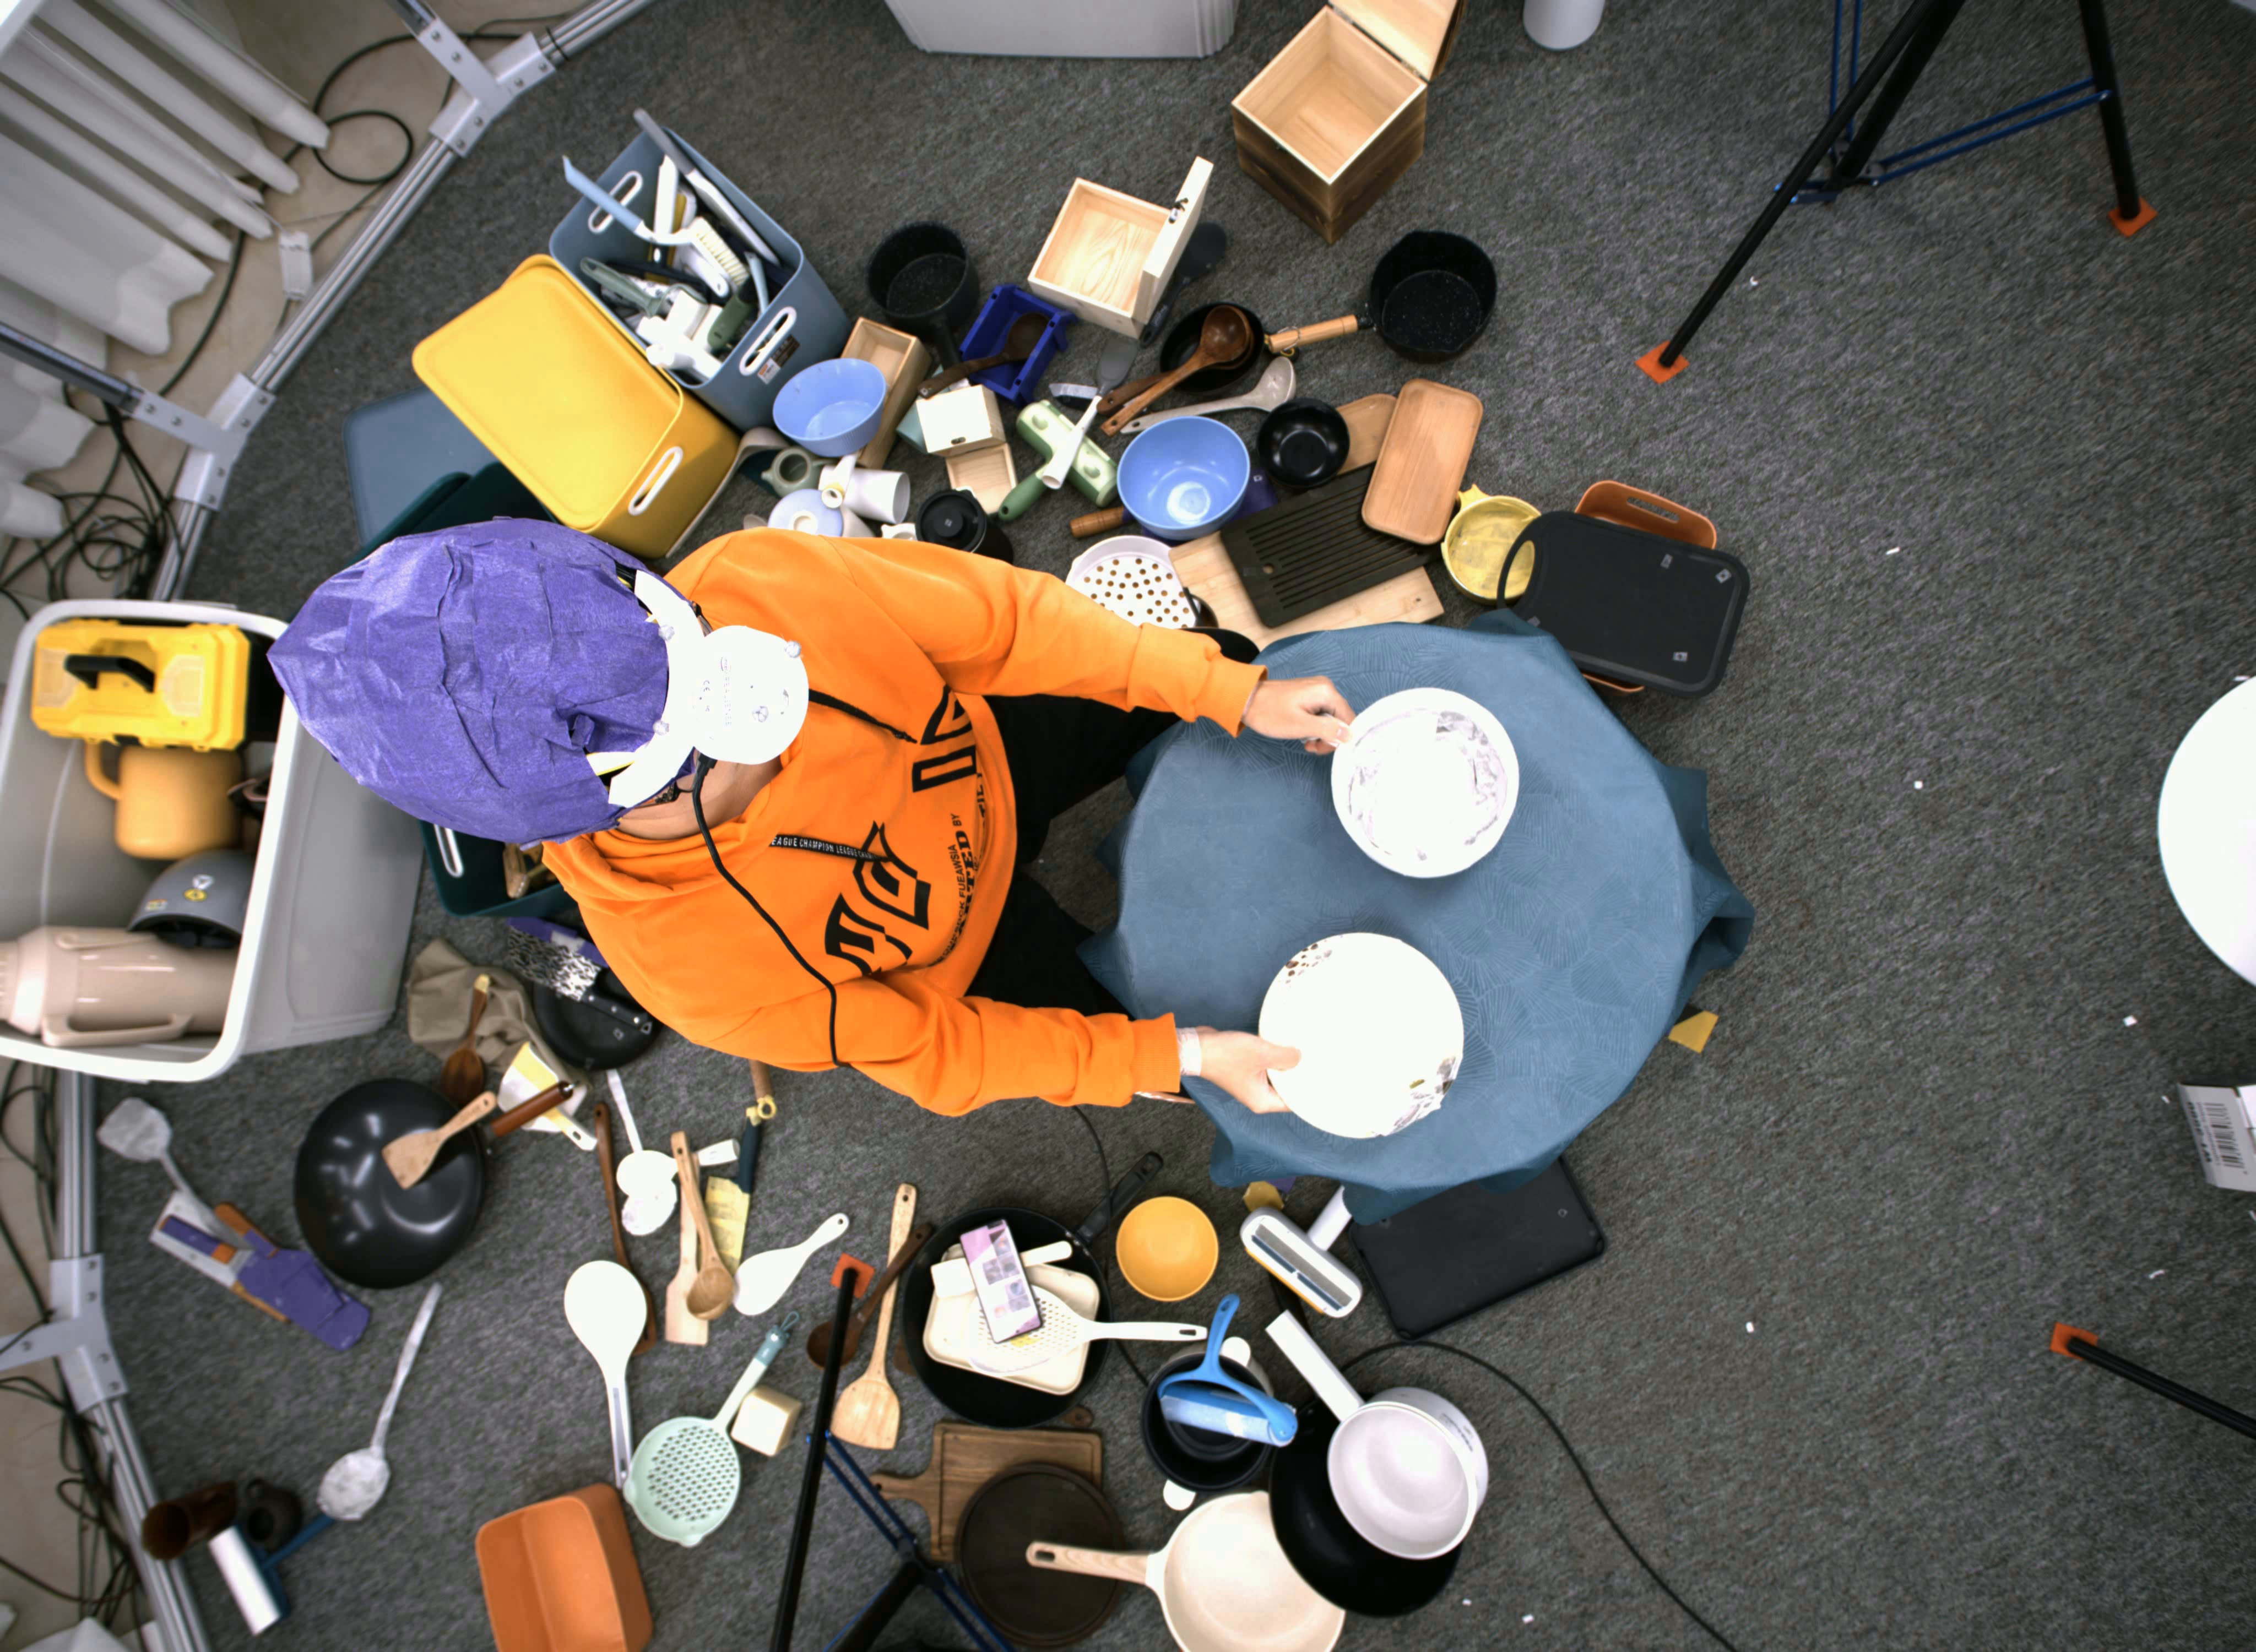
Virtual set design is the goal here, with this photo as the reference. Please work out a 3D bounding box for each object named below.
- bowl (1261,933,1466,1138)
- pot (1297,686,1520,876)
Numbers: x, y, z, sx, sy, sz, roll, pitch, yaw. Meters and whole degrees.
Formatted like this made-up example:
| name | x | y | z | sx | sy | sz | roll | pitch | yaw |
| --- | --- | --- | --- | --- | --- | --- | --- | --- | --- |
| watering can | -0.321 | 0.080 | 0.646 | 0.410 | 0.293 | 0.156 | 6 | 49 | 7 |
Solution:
| name | x | y | z | sx | sy | sz | roll | pitch | yaw |
| --- | --- | --- | --- | --- | --- | --- | --- | --- | --- |
| bowl | 0.240 | 0.212 | 1.417 | 0.205 | 0.078 | 0.202 | -2 | 83 | 10 |
| pot | 0.273 | -0.055 | 1.379 | 0.233 | 0.136 | 0.179 | 29 | 93 | 14 |
